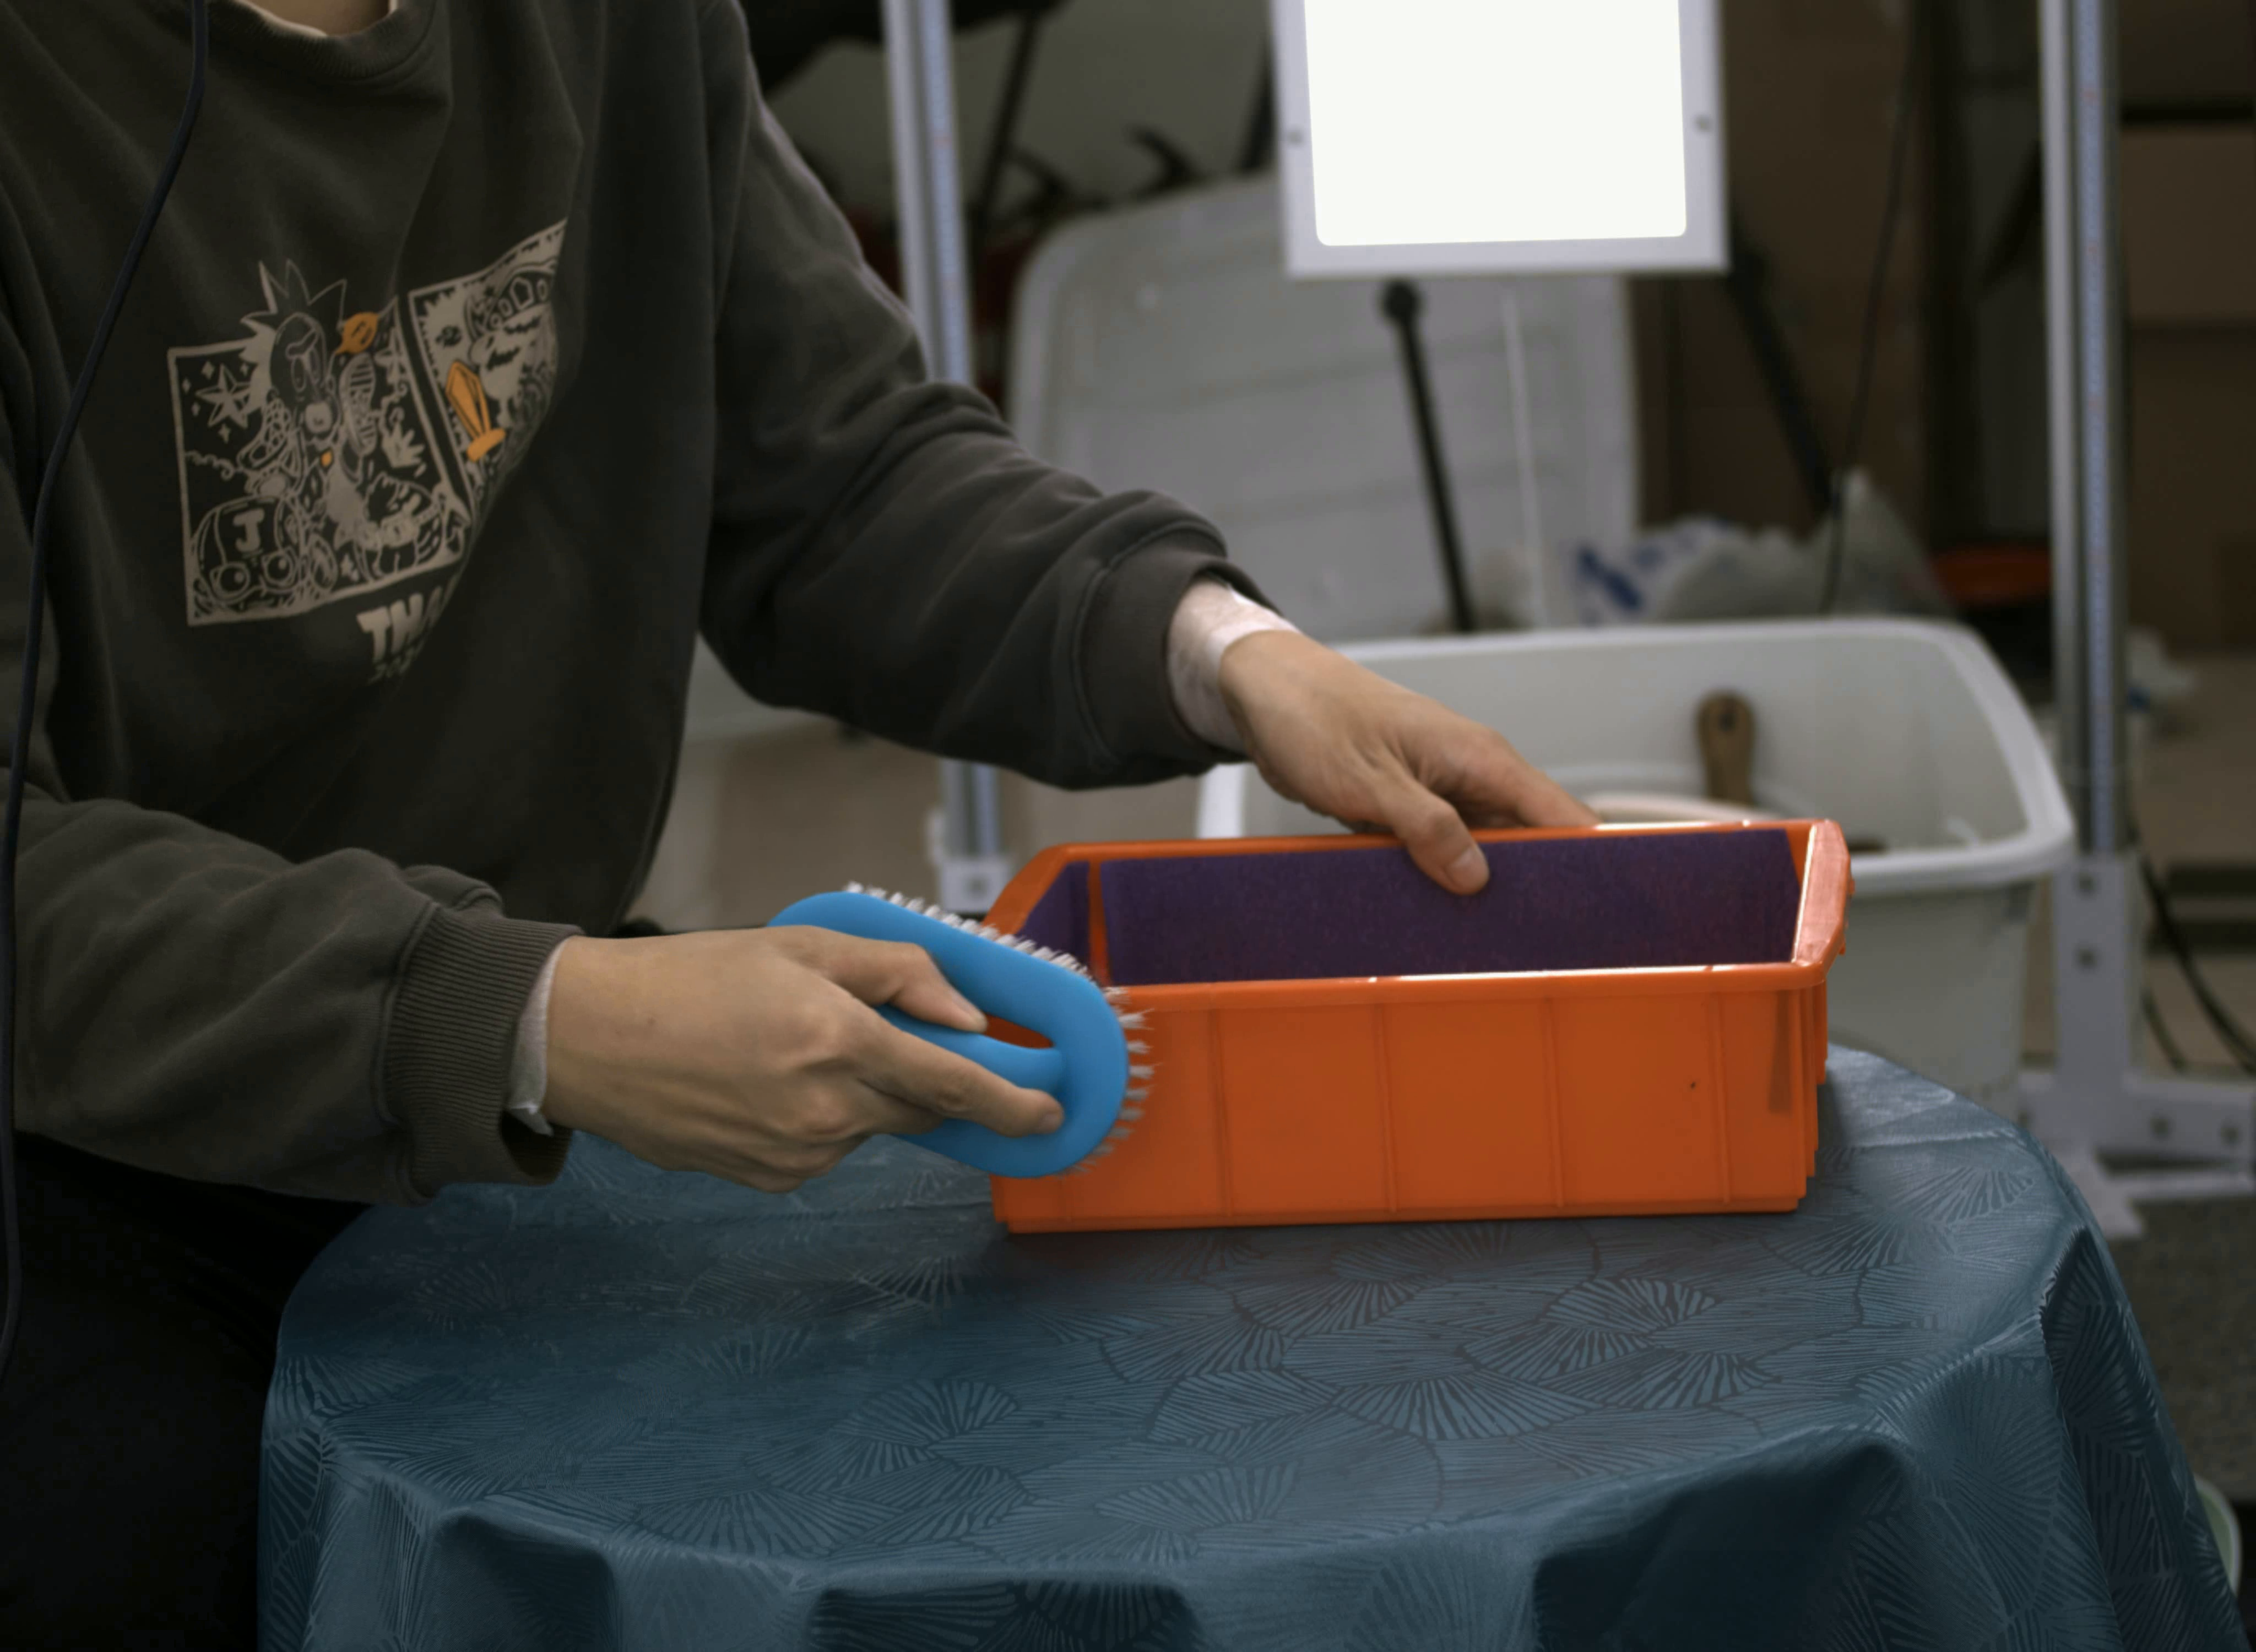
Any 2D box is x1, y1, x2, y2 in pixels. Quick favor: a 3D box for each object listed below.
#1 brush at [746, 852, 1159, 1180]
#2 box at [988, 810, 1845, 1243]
[{"bbox_3d":[-0.063,0.064,1.806,0.143,0.085,0.063,24,10,15],"label":"brush"},{"bbox_3d":[0.099,0.069,1.913,0.306,0.097,0.204,-2,14,12],"label":"box"}]
